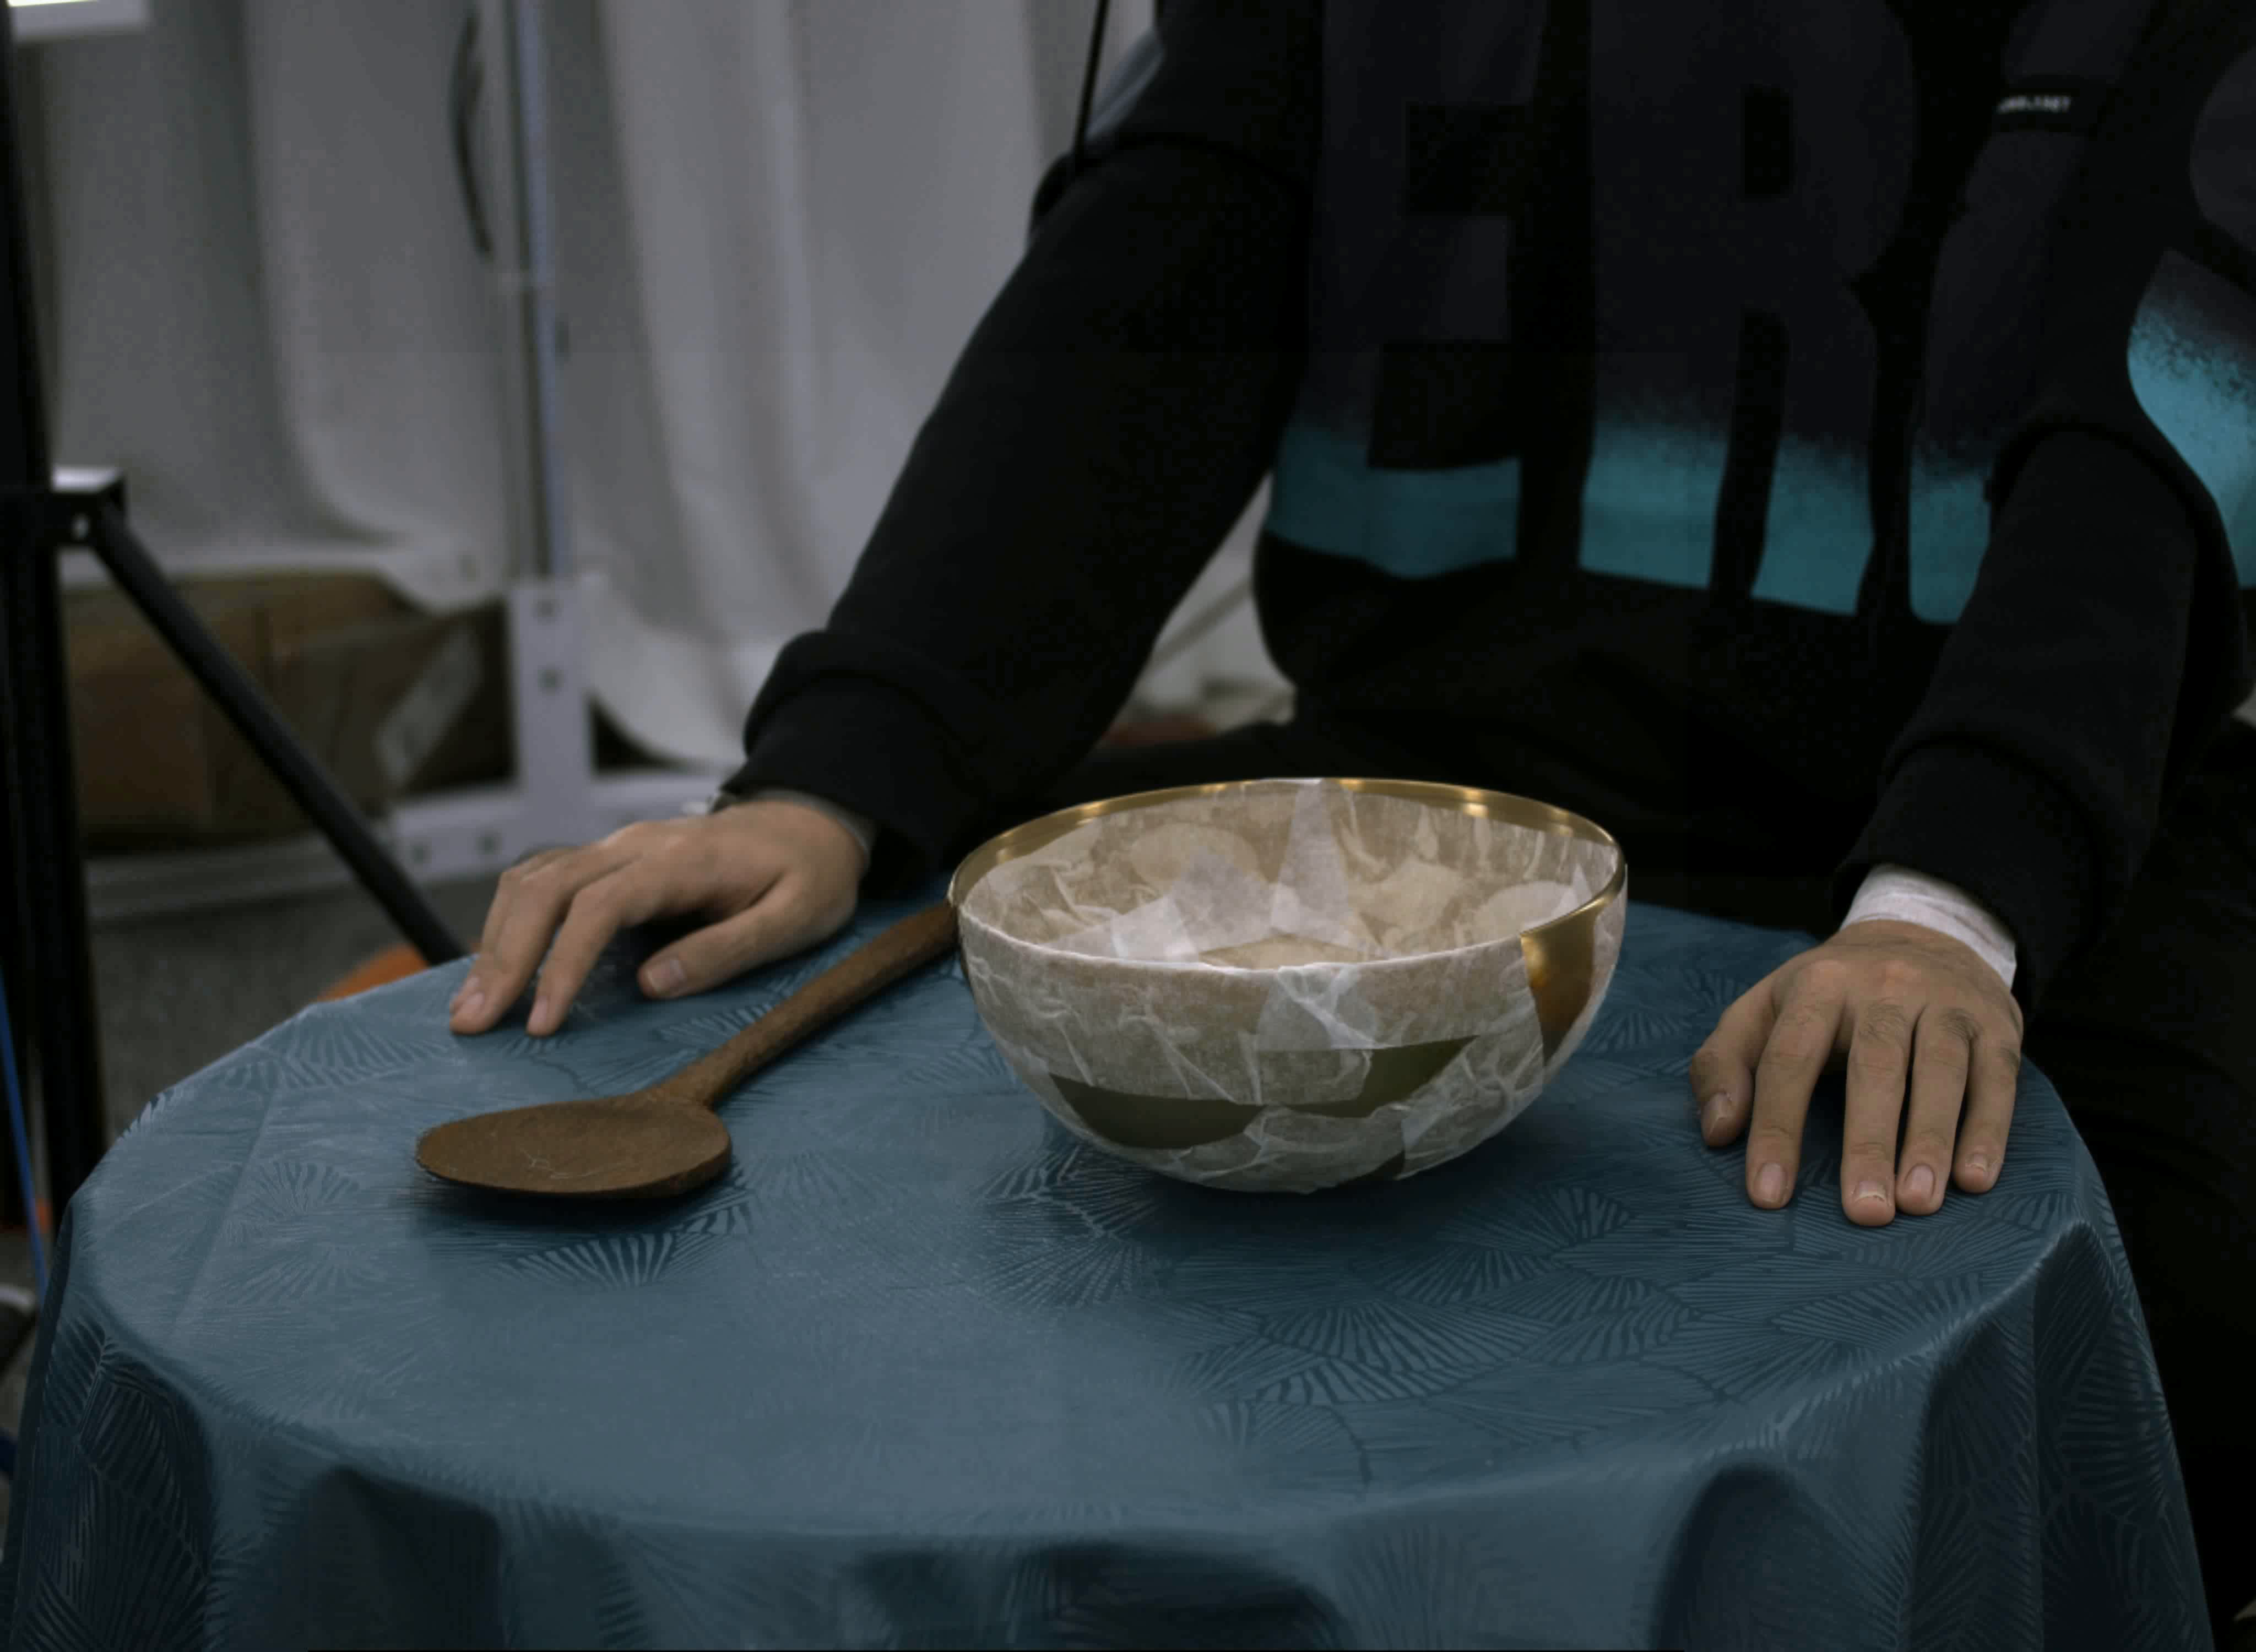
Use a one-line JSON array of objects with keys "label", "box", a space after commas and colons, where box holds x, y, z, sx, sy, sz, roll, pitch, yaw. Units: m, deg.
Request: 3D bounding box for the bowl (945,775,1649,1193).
[{"label": "bowl", "box": [0.051, 0.054, 1.570, 0.213, 0.094, 0.216, -4, 14, -1]}]

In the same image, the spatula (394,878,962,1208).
[{"label": "spatula", "box": [-0.105, 0.060, 1.720, 0.097, 0.016, 0.380, 5, 17, 24]}]
